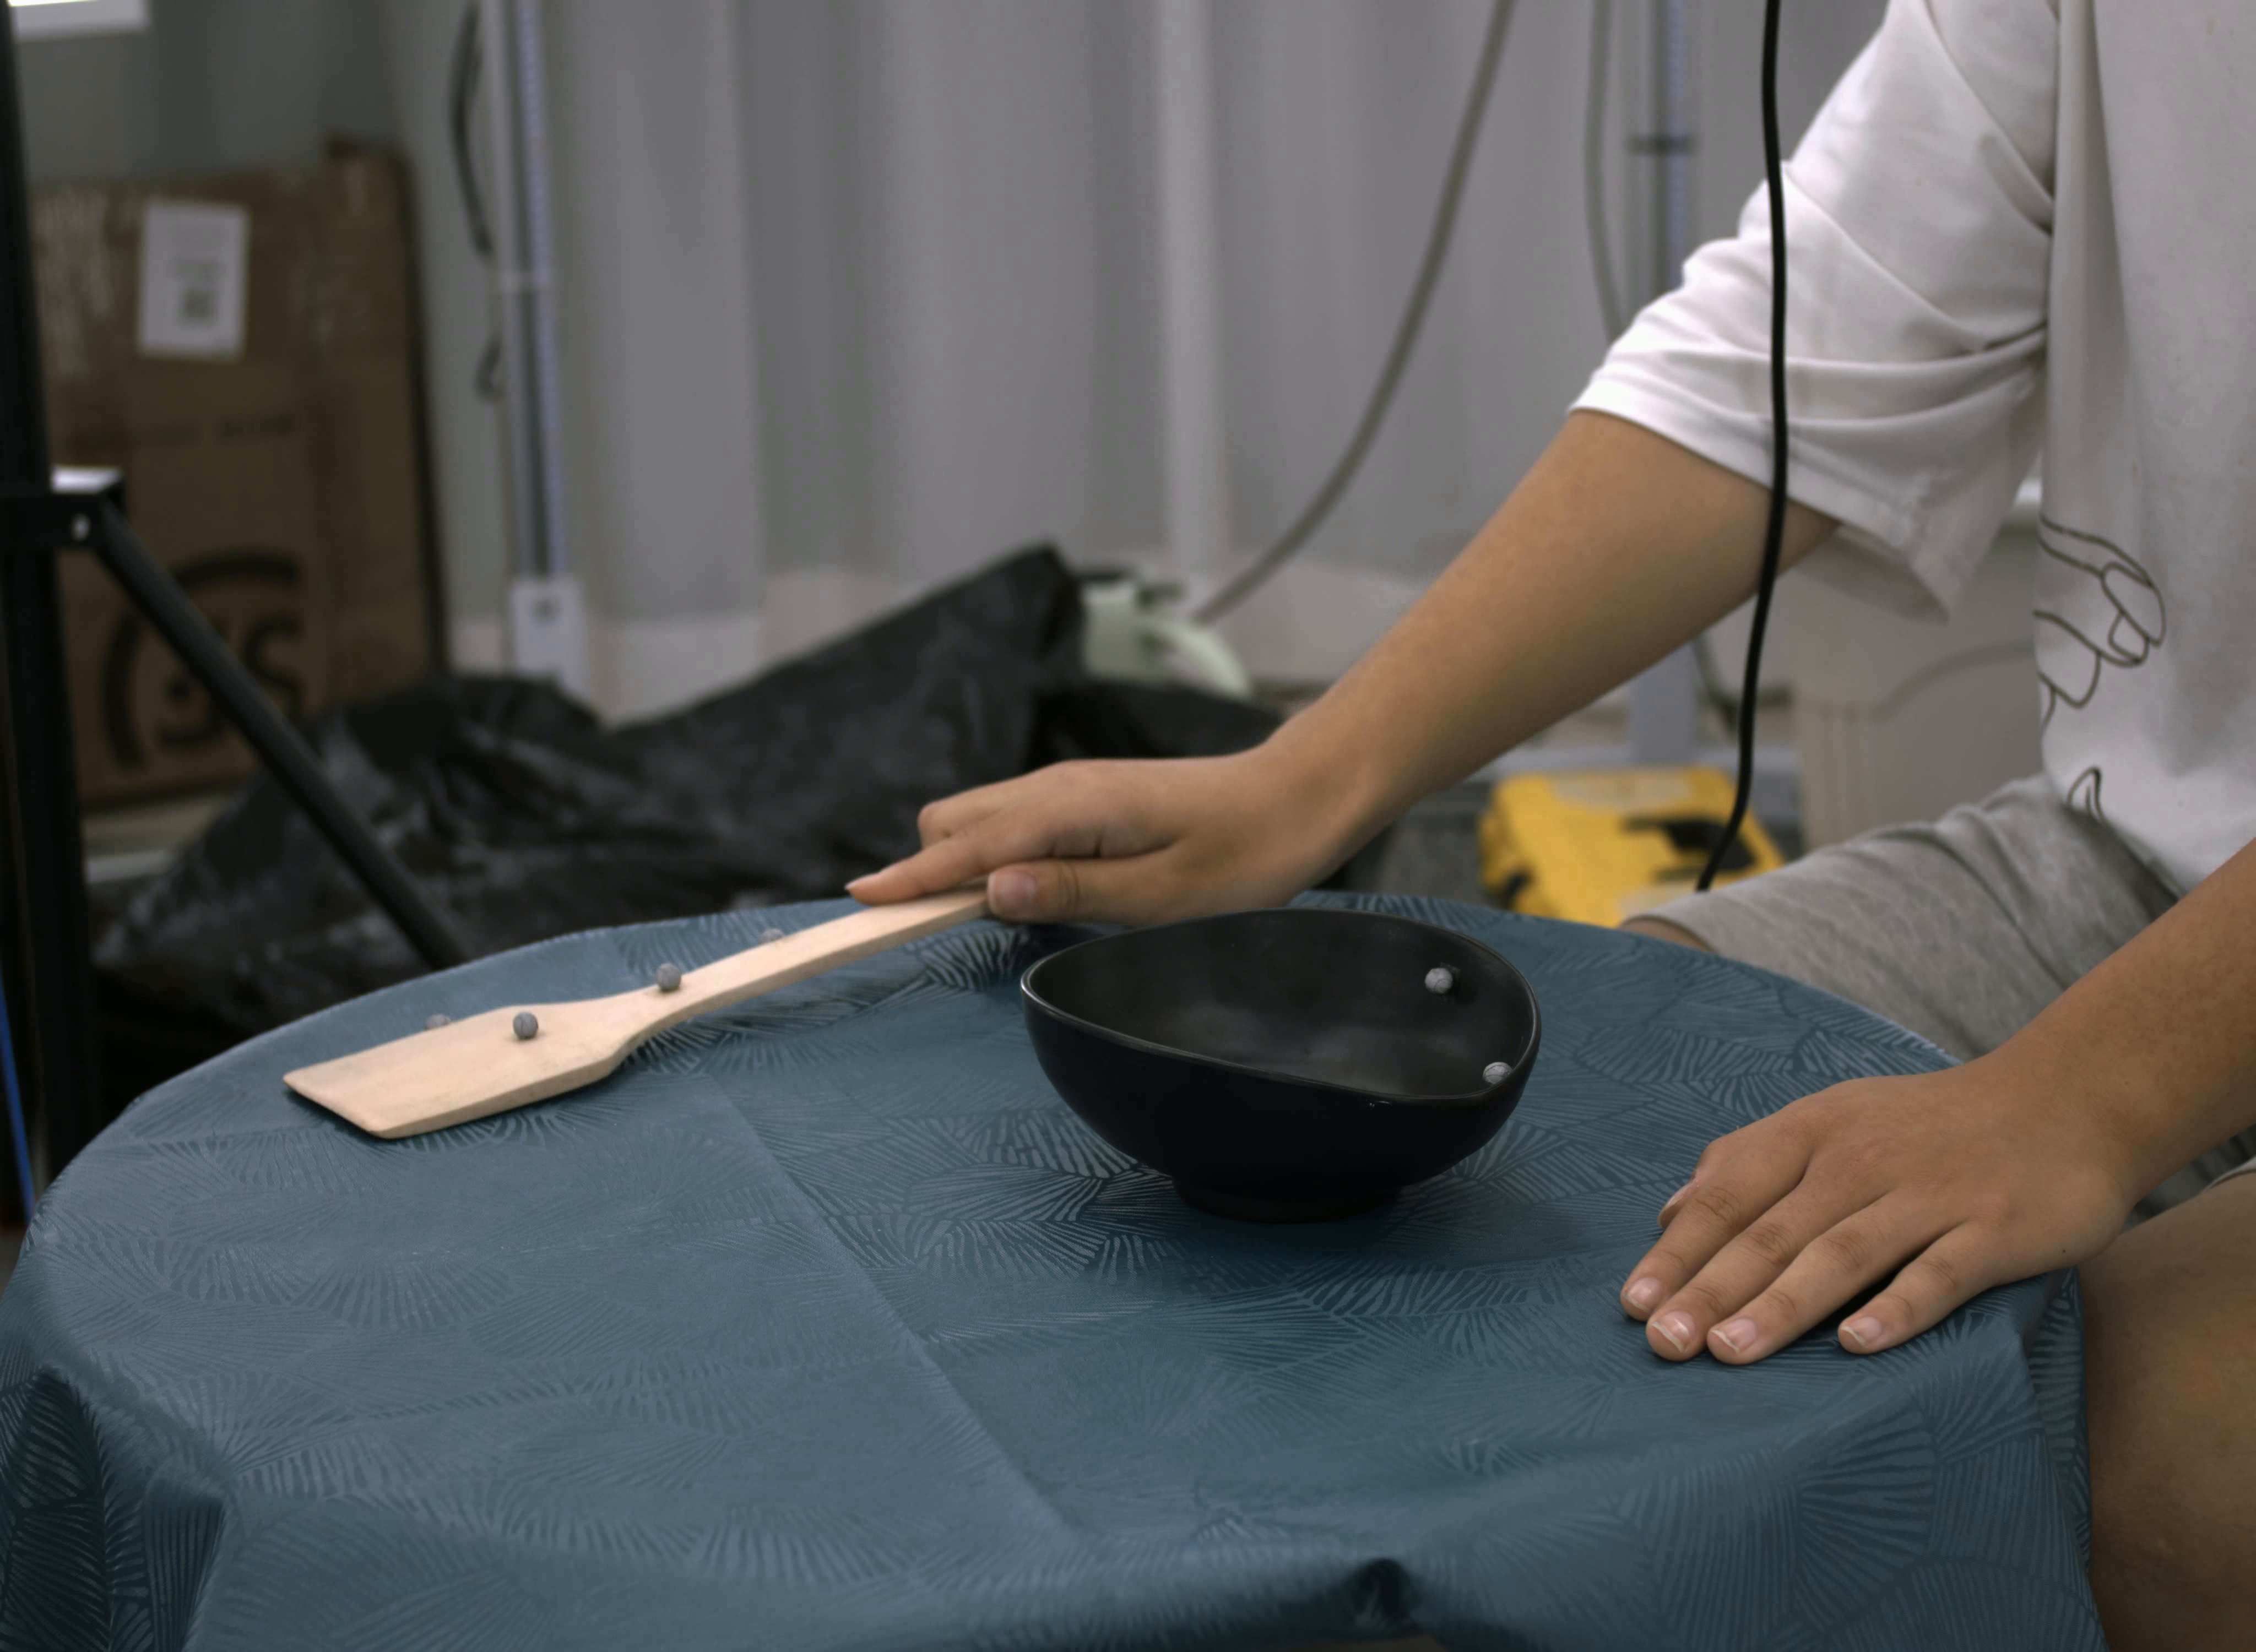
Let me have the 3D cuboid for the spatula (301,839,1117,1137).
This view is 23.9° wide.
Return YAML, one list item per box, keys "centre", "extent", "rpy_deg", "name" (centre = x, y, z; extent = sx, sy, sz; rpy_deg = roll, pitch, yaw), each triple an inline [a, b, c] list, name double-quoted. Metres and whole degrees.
- centre: [-0.126, 0.049, 1.729]
  extent: [0.287, 0.010, 0.074]
  rpy_deg: [-19, 21, -29]
  name: "spatula"

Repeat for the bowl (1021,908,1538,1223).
- centre: [0.045, 0.074, 1.554]
  extent: [0.134, 0.067, 0.174]
  rpy_deg: [-16, 22, -41]
  name: "bowl"
